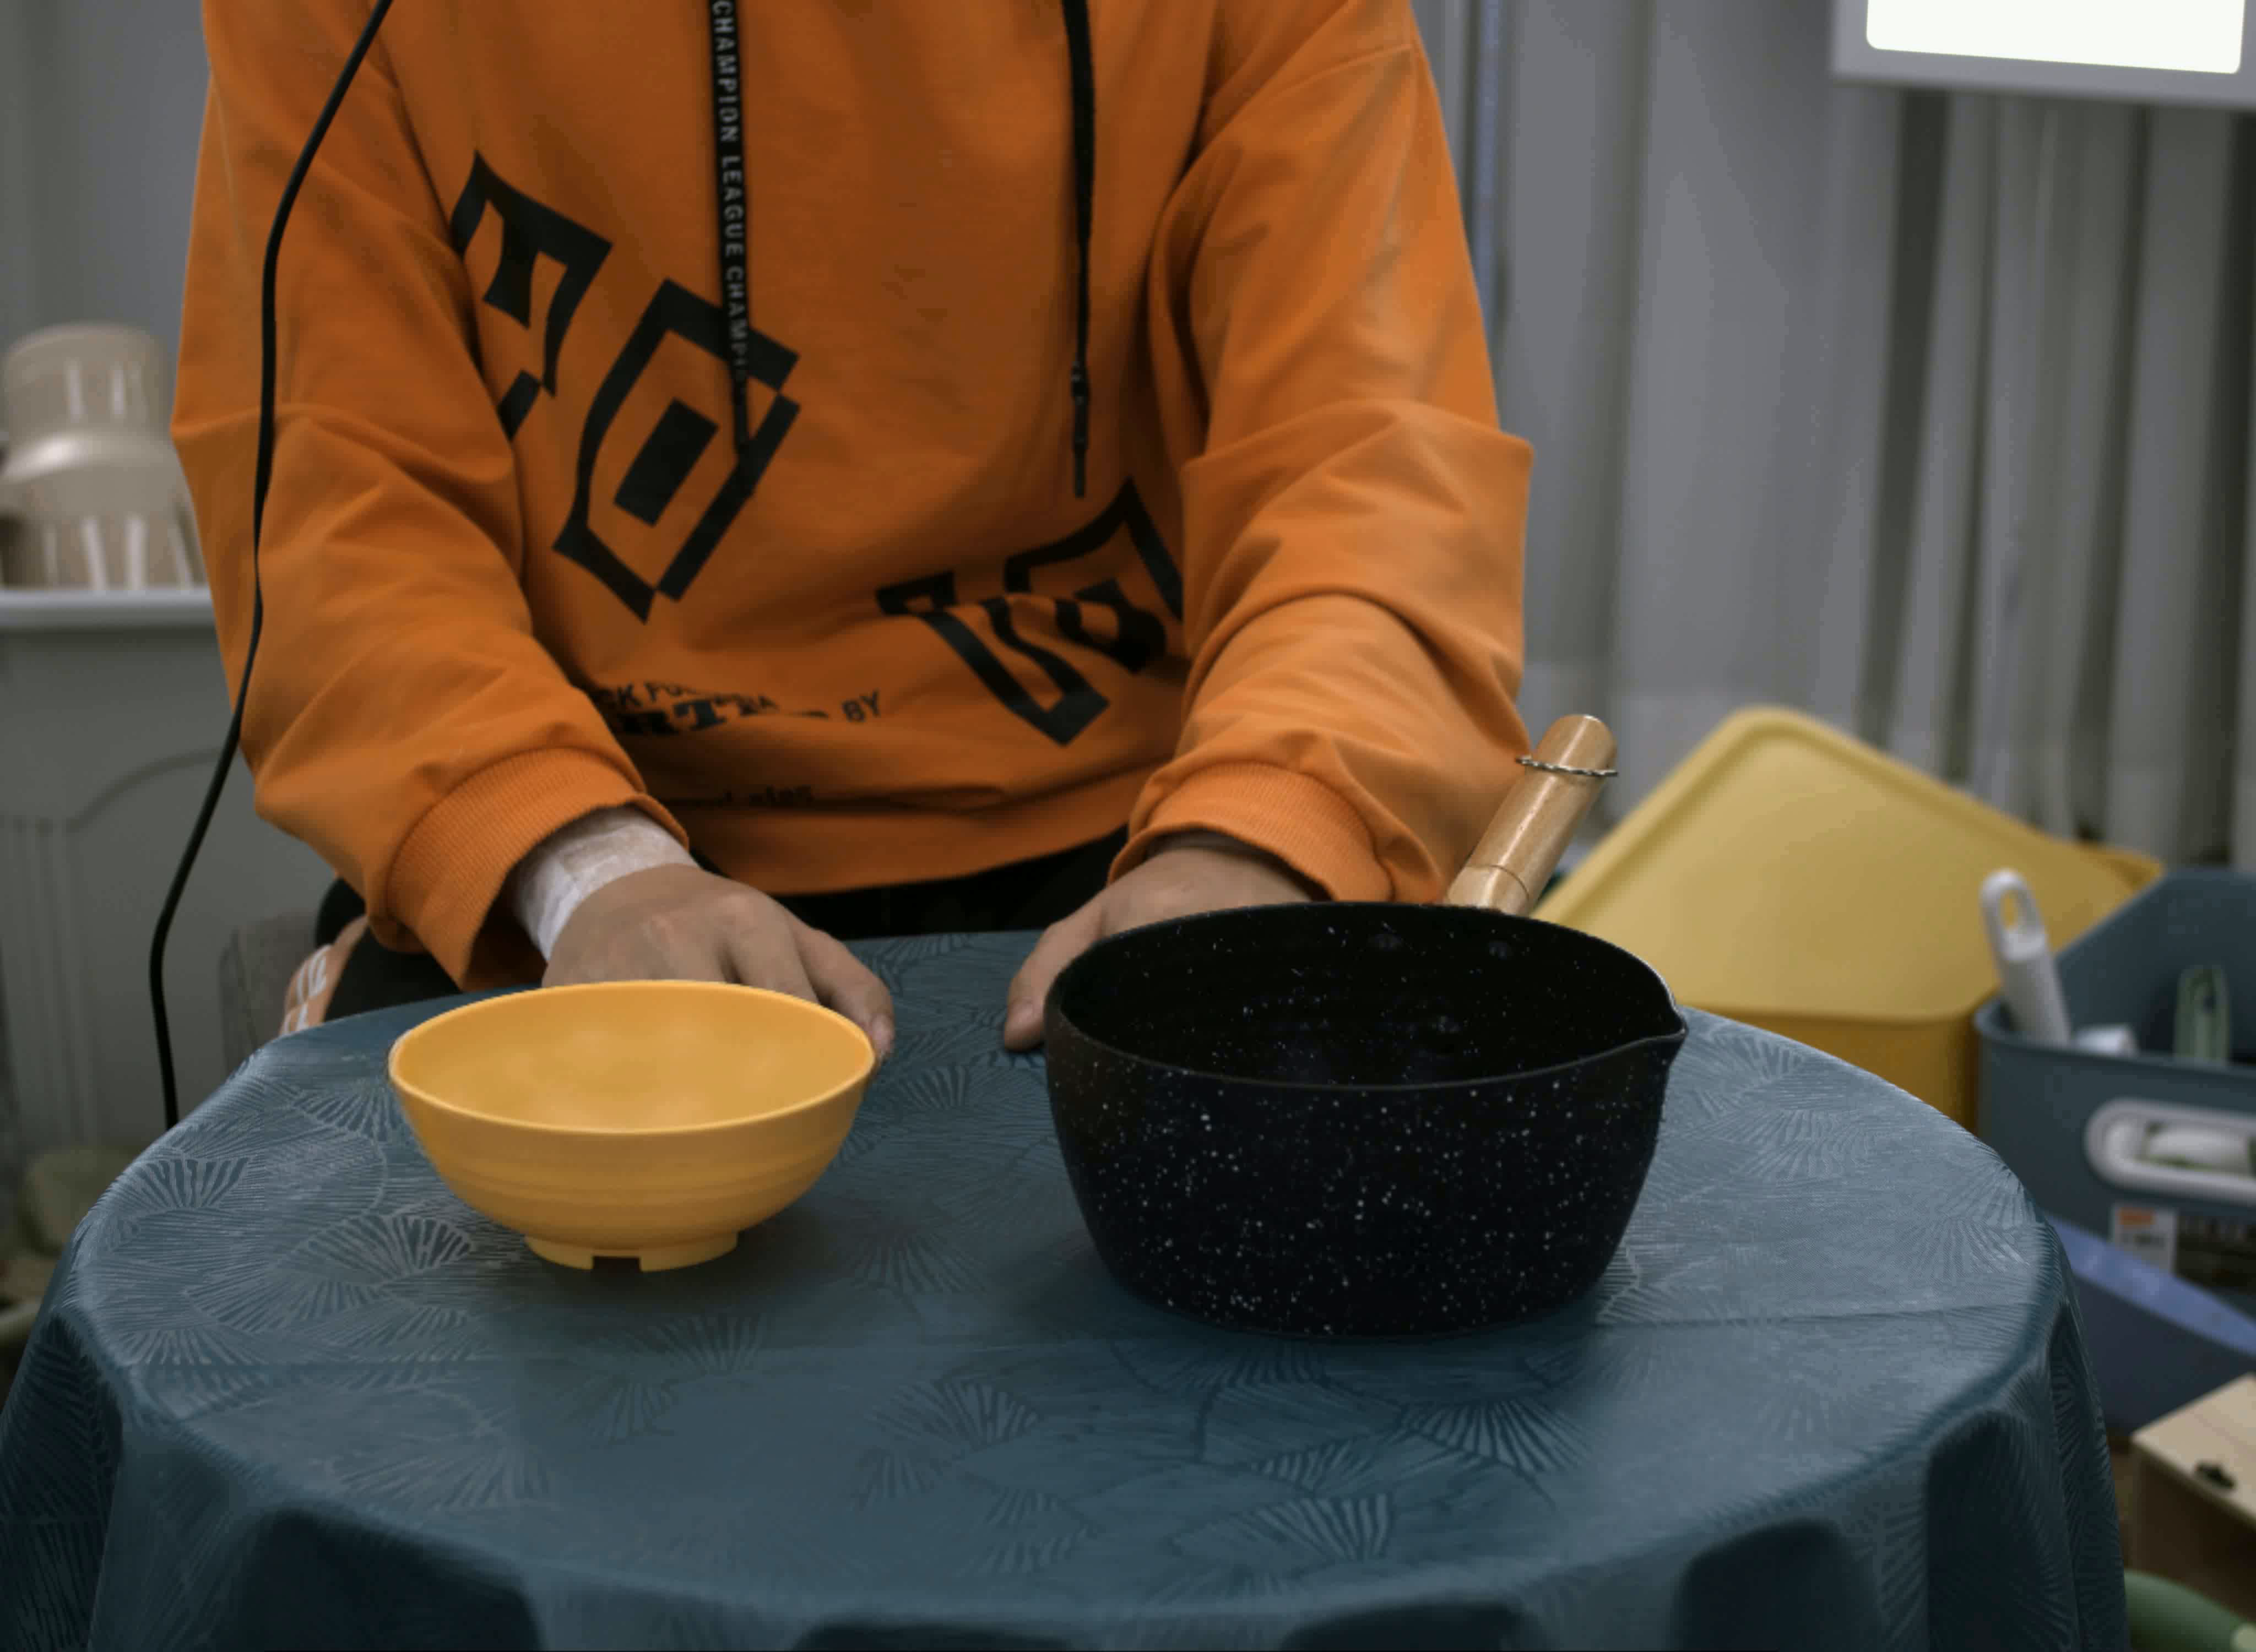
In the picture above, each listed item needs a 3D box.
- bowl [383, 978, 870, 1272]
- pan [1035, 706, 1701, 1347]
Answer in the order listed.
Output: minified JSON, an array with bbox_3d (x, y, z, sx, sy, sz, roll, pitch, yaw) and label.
[{"bbox_3d":[-0.149,0.095,1.573,0.145,0.060,0.144,2,16,0],"label":"bowl"},{"bbox_3d":[0.094,0.056,1.624,0.205,0.109,0.343,4,17,19],"label":"pan"}]
